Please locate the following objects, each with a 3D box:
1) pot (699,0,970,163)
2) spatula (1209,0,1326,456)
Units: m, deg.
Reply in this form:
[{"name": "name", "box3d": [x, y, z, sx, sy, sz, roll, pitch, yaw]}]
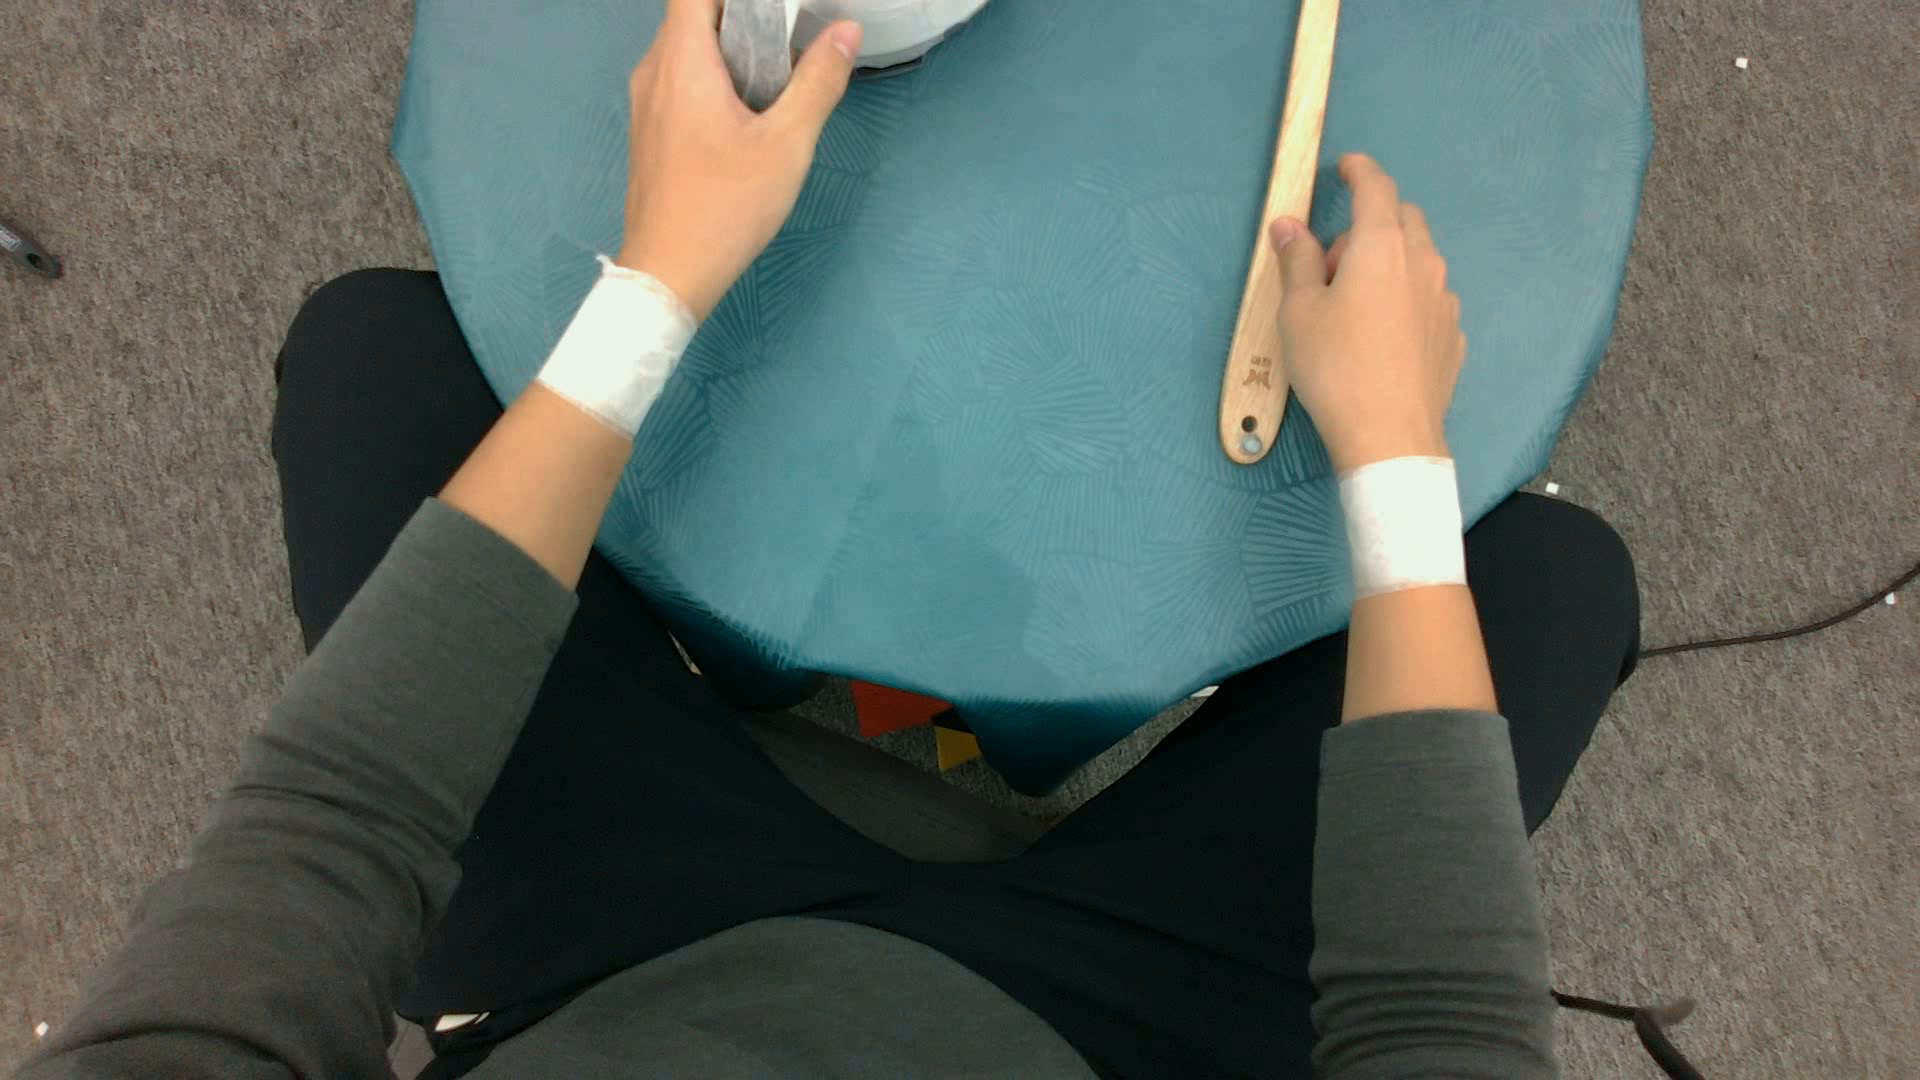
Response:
[{"name": "pot", "box3d": [-0.064, -0.287, 0.598, 0.179, 0.136, 0.234, 16, 86, -1]}, {"name": "spatula", "box3d": [0.167, -0.232, 0.667, 0.096, 0.018, 0.391, 9, 86, -1]}]
